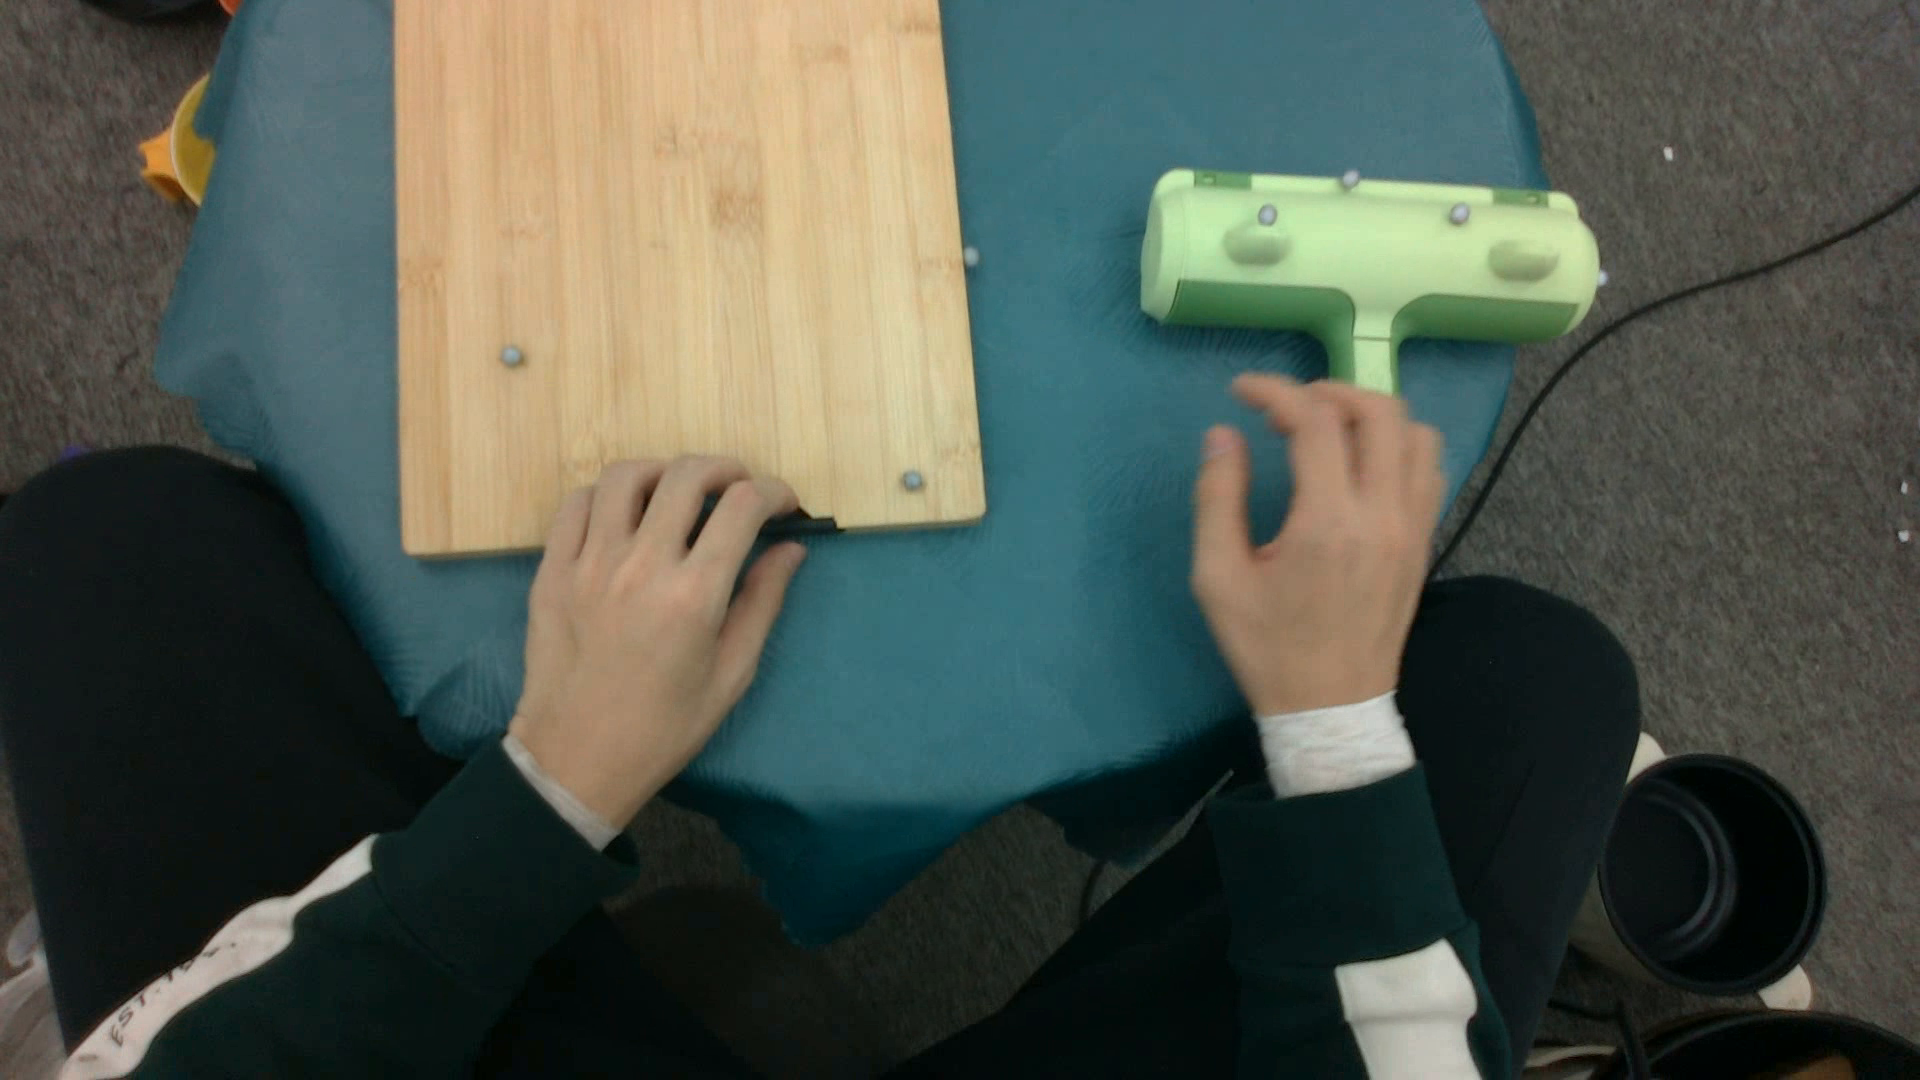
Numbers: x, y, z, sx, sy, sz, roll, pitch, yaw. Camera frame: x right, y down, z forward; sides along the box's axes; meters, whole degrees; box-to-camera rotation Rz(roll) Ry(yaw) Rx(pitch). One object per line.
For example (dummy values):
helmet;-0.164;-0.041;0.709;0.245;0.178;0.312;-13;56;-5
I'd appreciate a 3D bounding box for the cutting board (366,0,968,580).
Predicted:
cutting board;-0.134;-0.163;0.611;0.251;0.023;0.349;-6;80;-7

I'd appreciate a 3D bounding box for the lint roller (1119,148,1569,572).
lint roller;0.172;-0.082;0.600;0.199;0.082;0.184;2;75;-6
